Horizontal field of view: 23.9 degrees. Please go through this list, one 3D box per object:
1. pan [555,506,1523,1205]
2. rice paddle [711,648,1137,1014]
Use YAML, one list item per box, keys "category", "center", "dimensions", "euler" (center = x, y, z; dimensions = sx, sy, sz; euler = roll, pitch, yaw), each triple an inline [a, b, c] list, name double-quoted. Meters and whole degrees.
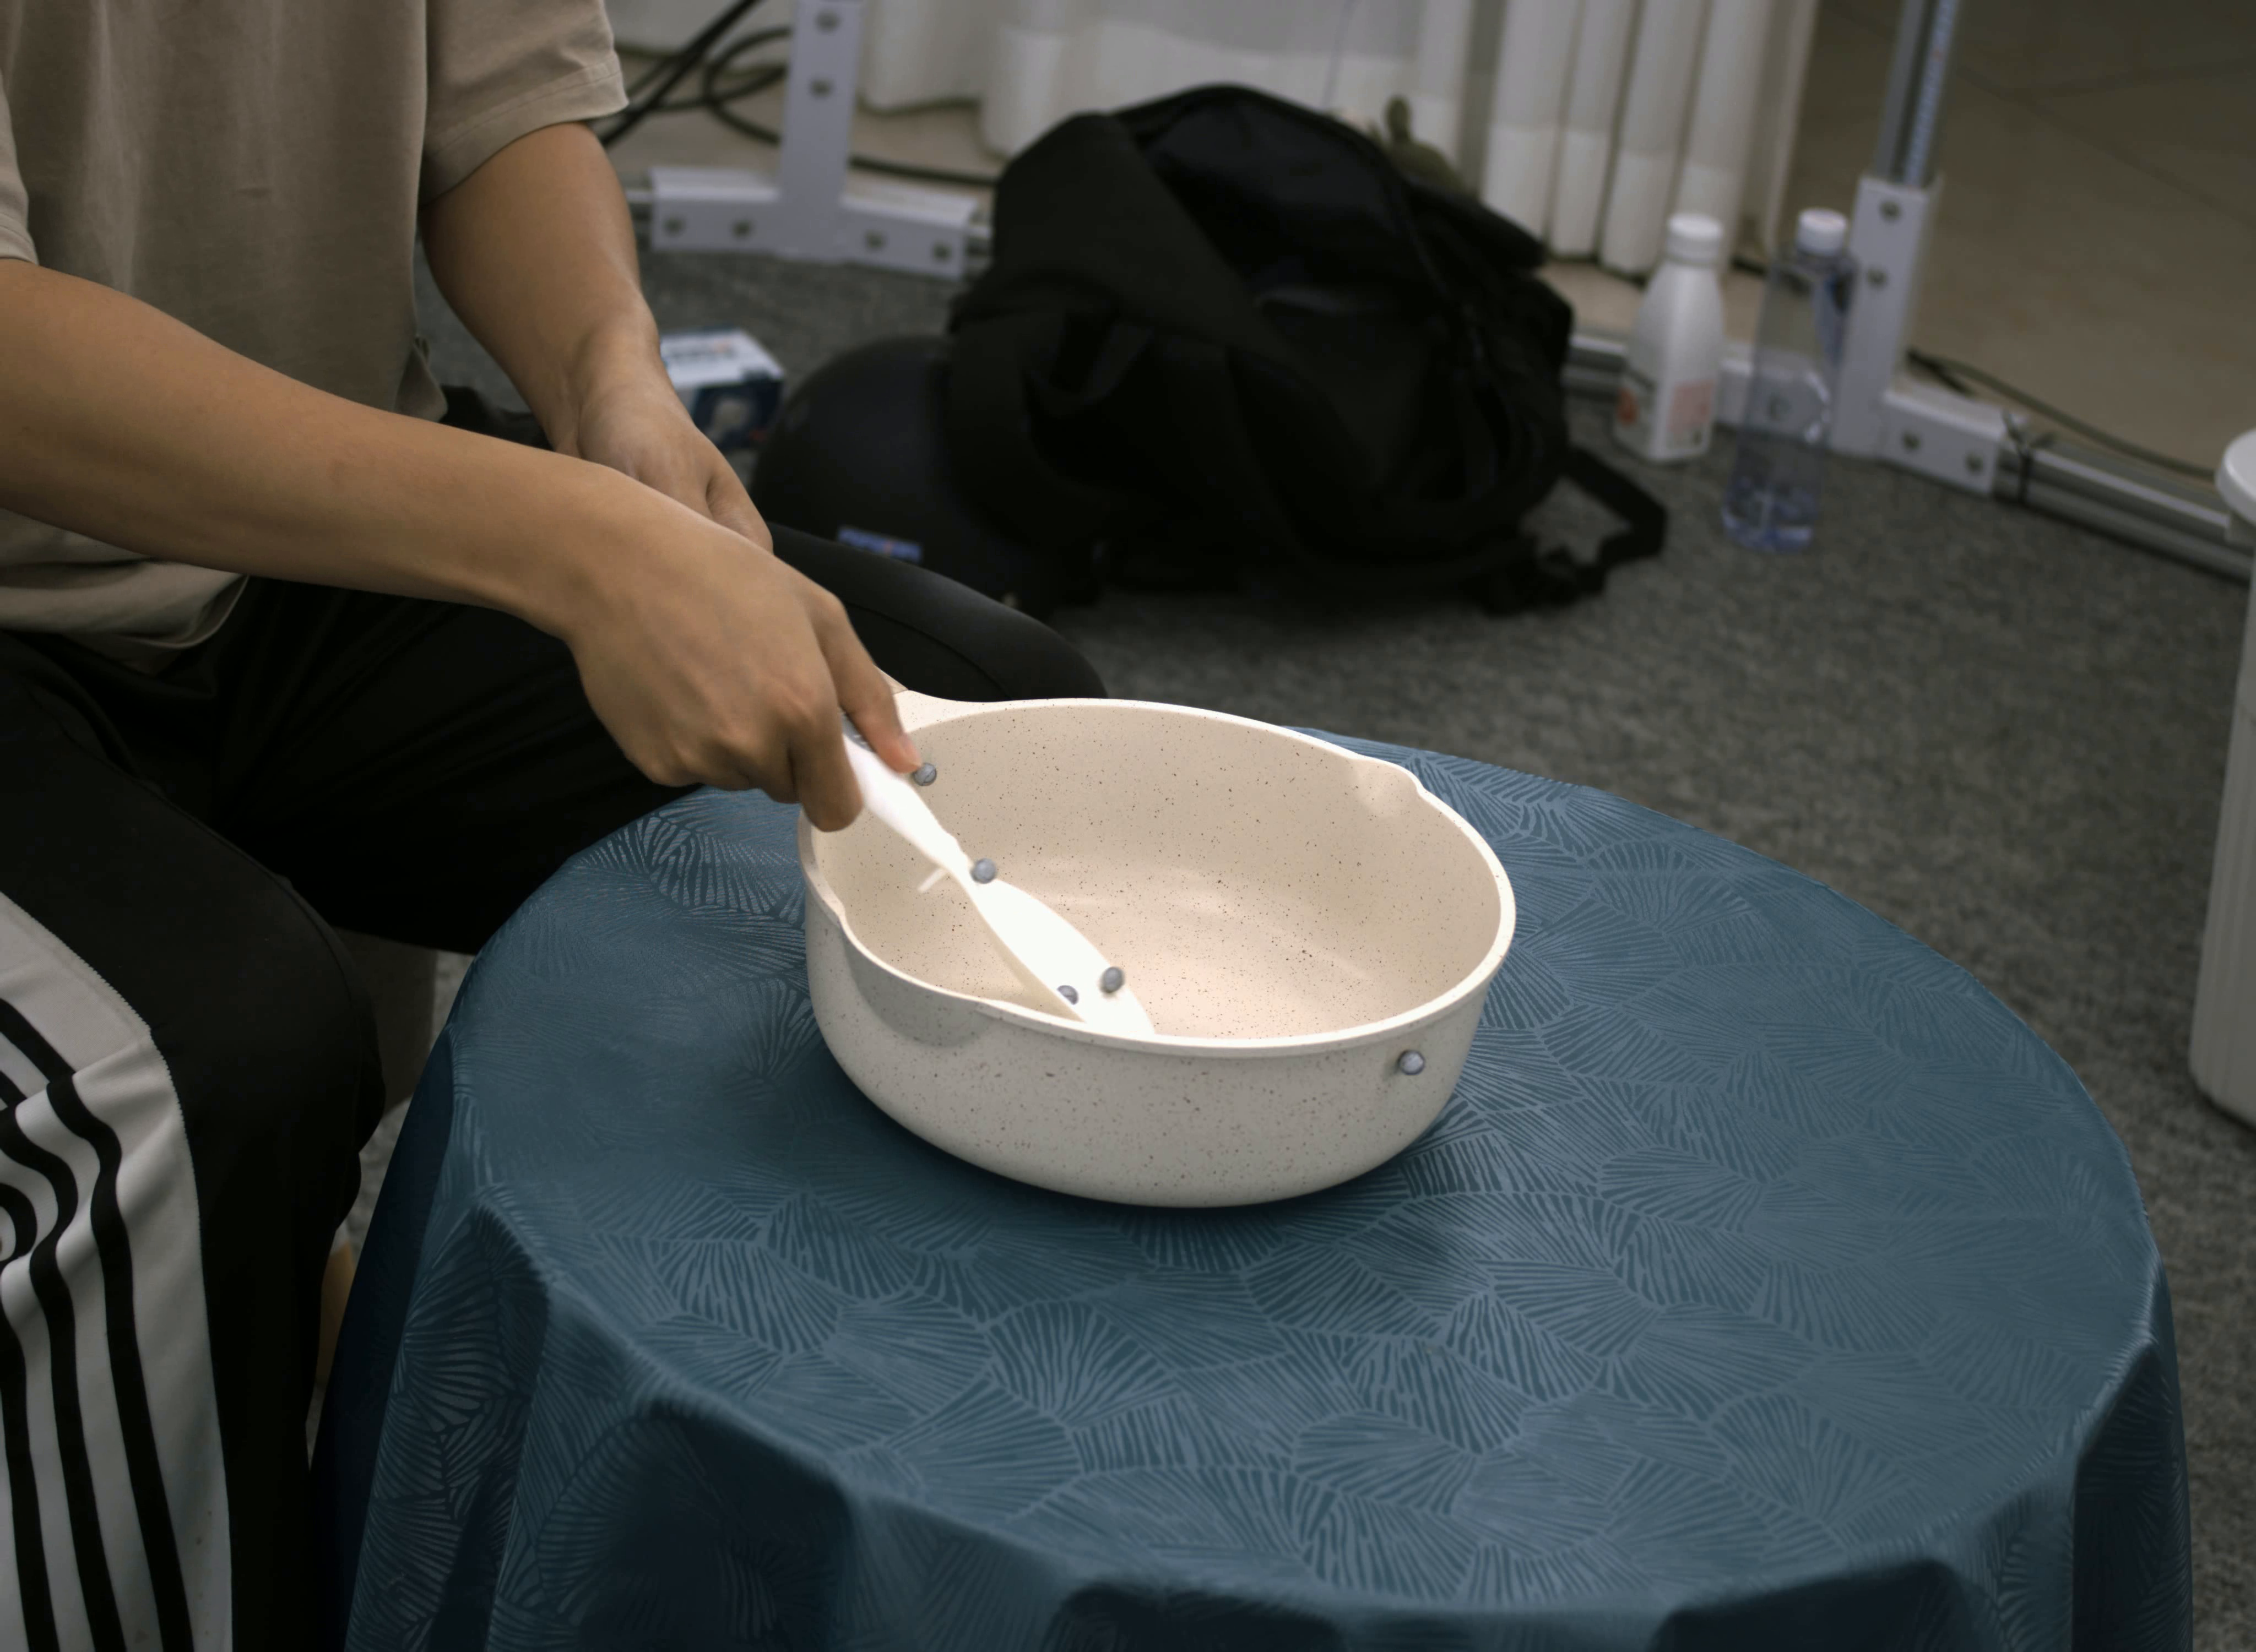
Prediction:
- category: "pan"
  center: [-0.056, 0.005, 1.918]
  dimensions: [0.438, 0.101, 0.262]
  euler: [28, 36, 36]
- category: "rice paddle"
  center: [-0.061, 0.014, 1.843]
  dimensions: [0.204, 0.029, 0.069]
  euler: [42, 17, -19]
